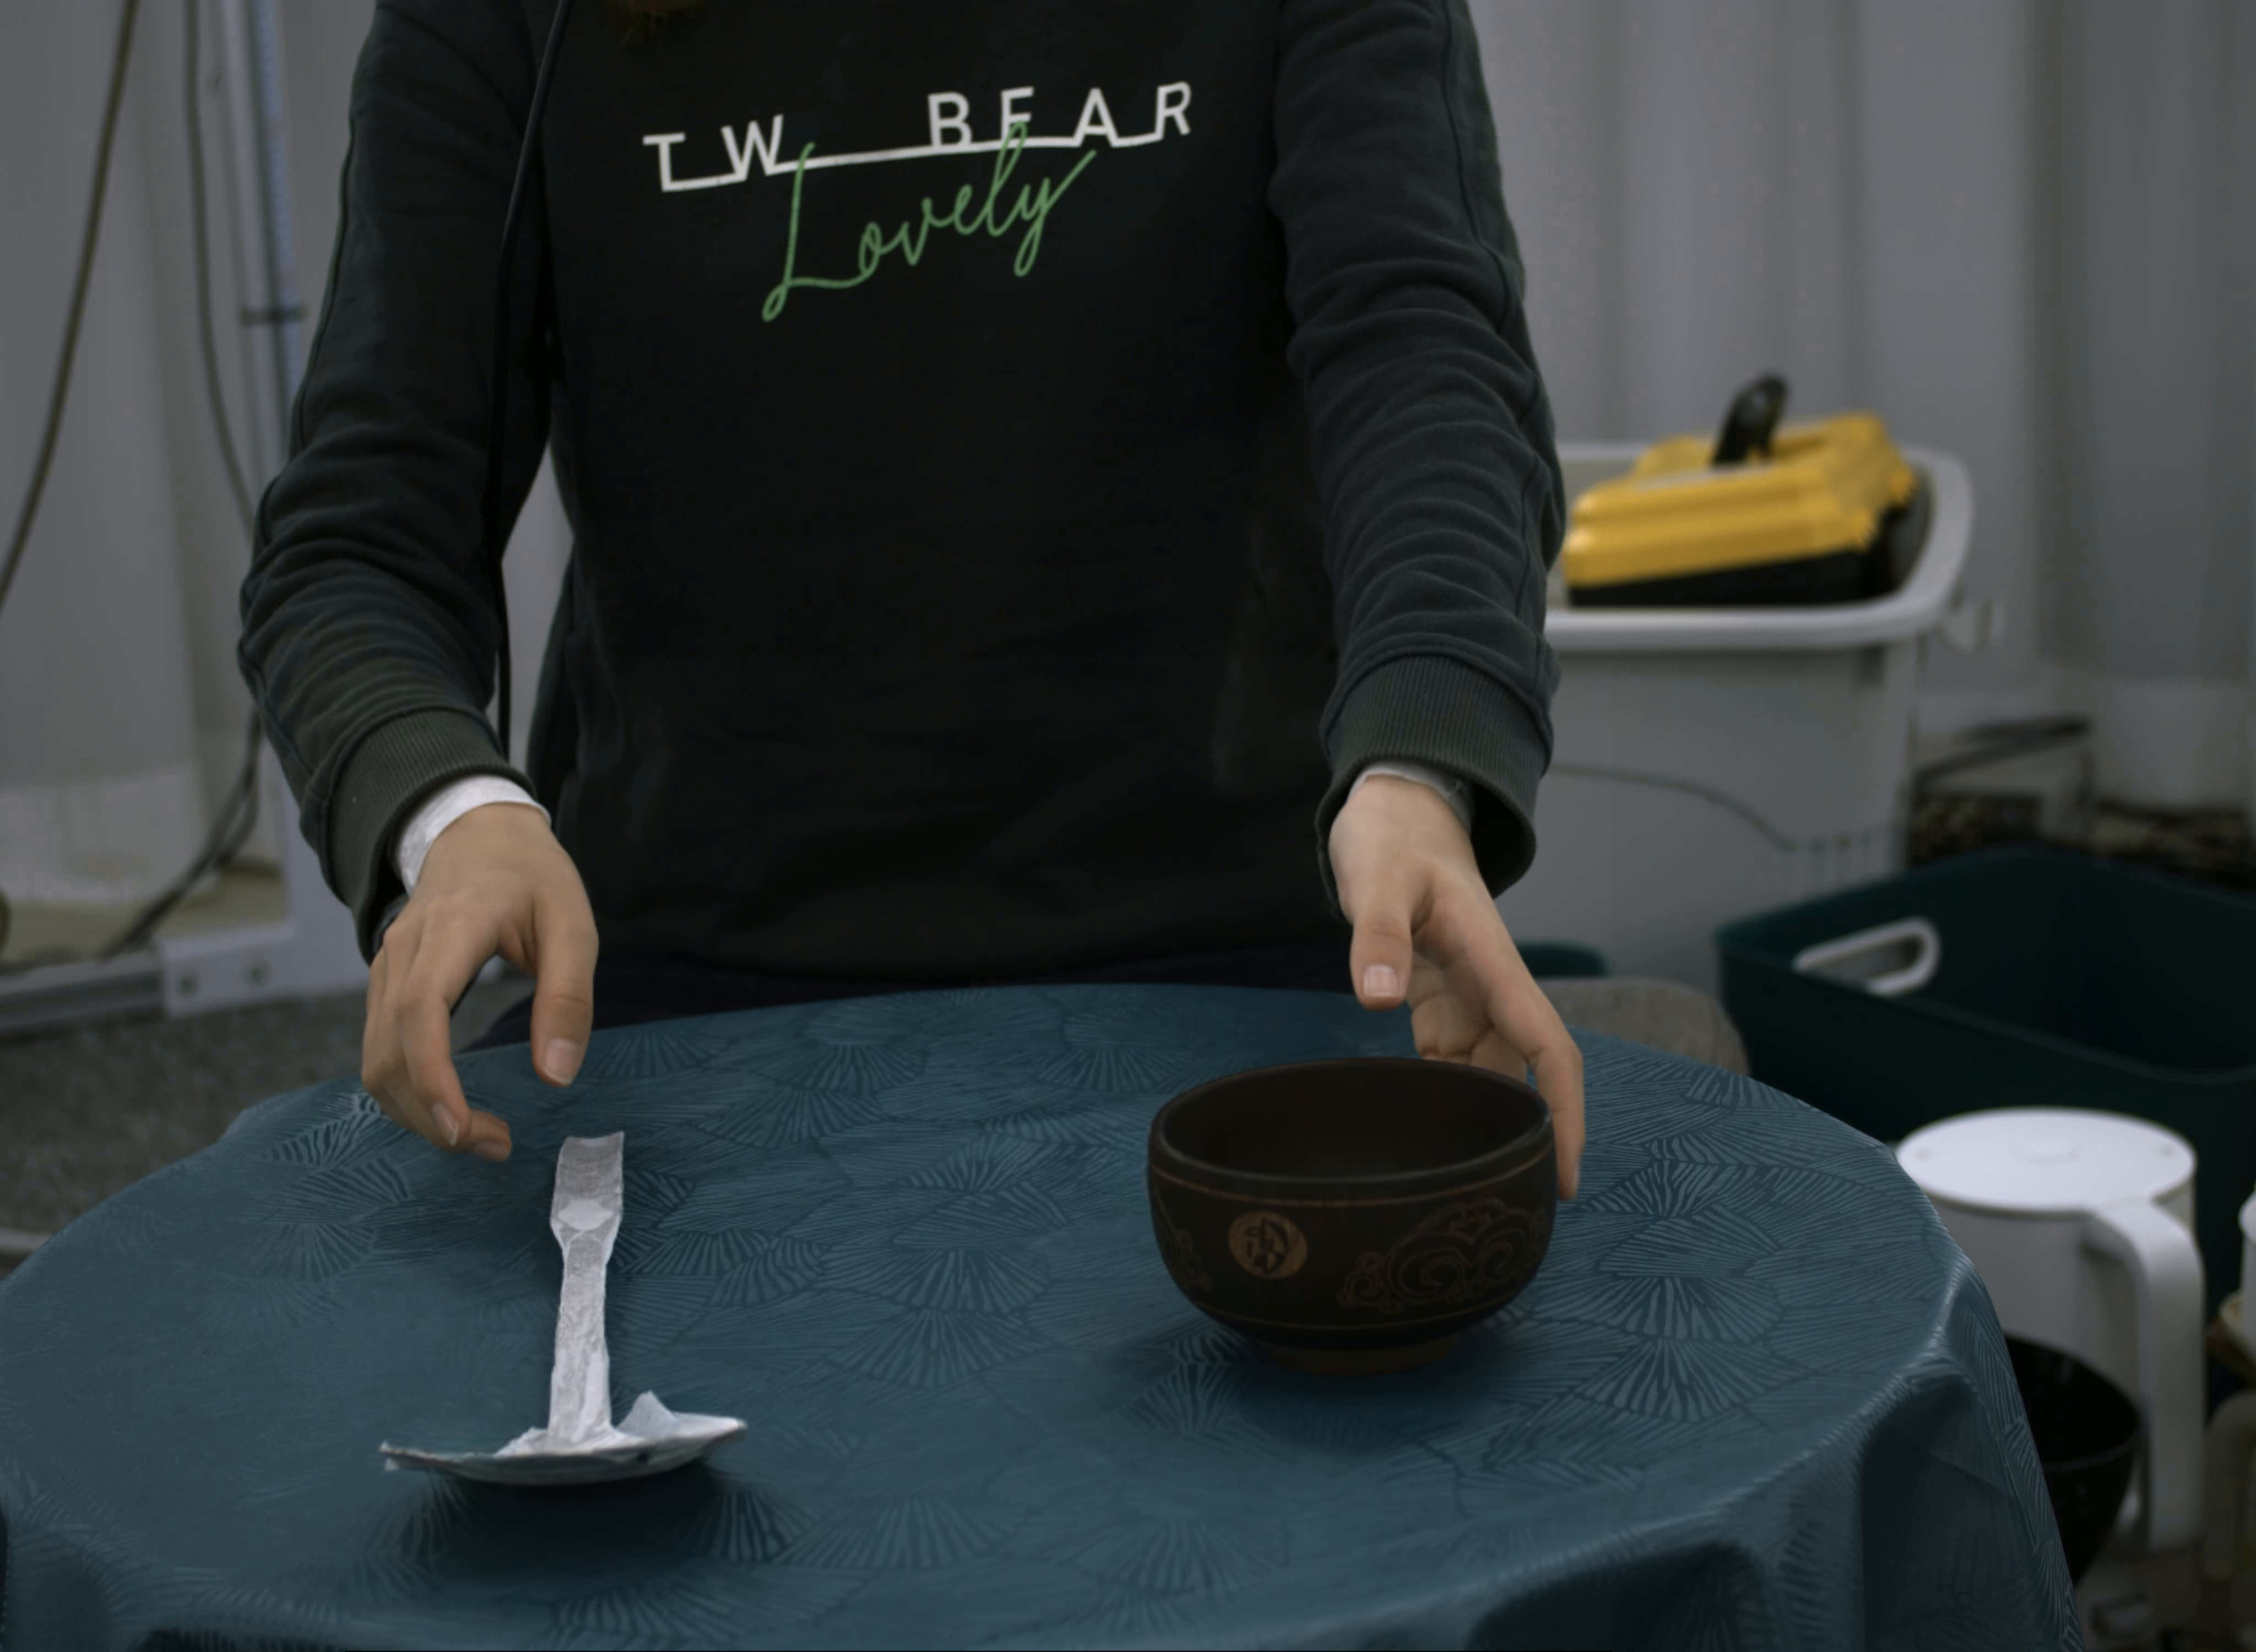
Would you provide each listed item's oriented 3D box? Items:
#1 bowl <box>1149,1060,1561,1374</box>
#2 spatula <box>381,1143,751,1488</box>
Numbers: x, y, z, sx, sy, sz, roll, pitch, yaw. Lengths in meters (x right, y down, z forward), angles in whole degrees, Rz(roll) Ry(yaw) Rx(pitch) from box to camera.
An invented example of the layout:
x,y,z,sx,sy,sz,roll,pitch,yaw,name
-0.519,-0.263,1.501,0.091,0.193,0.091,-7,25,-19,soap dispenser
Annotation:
x,y,z,sx,sy,sz,roll,pitch,yaw,name
0.065,0.115,1.564,0.117,0.069,0.118,-2,12,0,bowl
-0.156,0.134,1.598,0.098,0.044,0.367,-5,15,-2,spatula
